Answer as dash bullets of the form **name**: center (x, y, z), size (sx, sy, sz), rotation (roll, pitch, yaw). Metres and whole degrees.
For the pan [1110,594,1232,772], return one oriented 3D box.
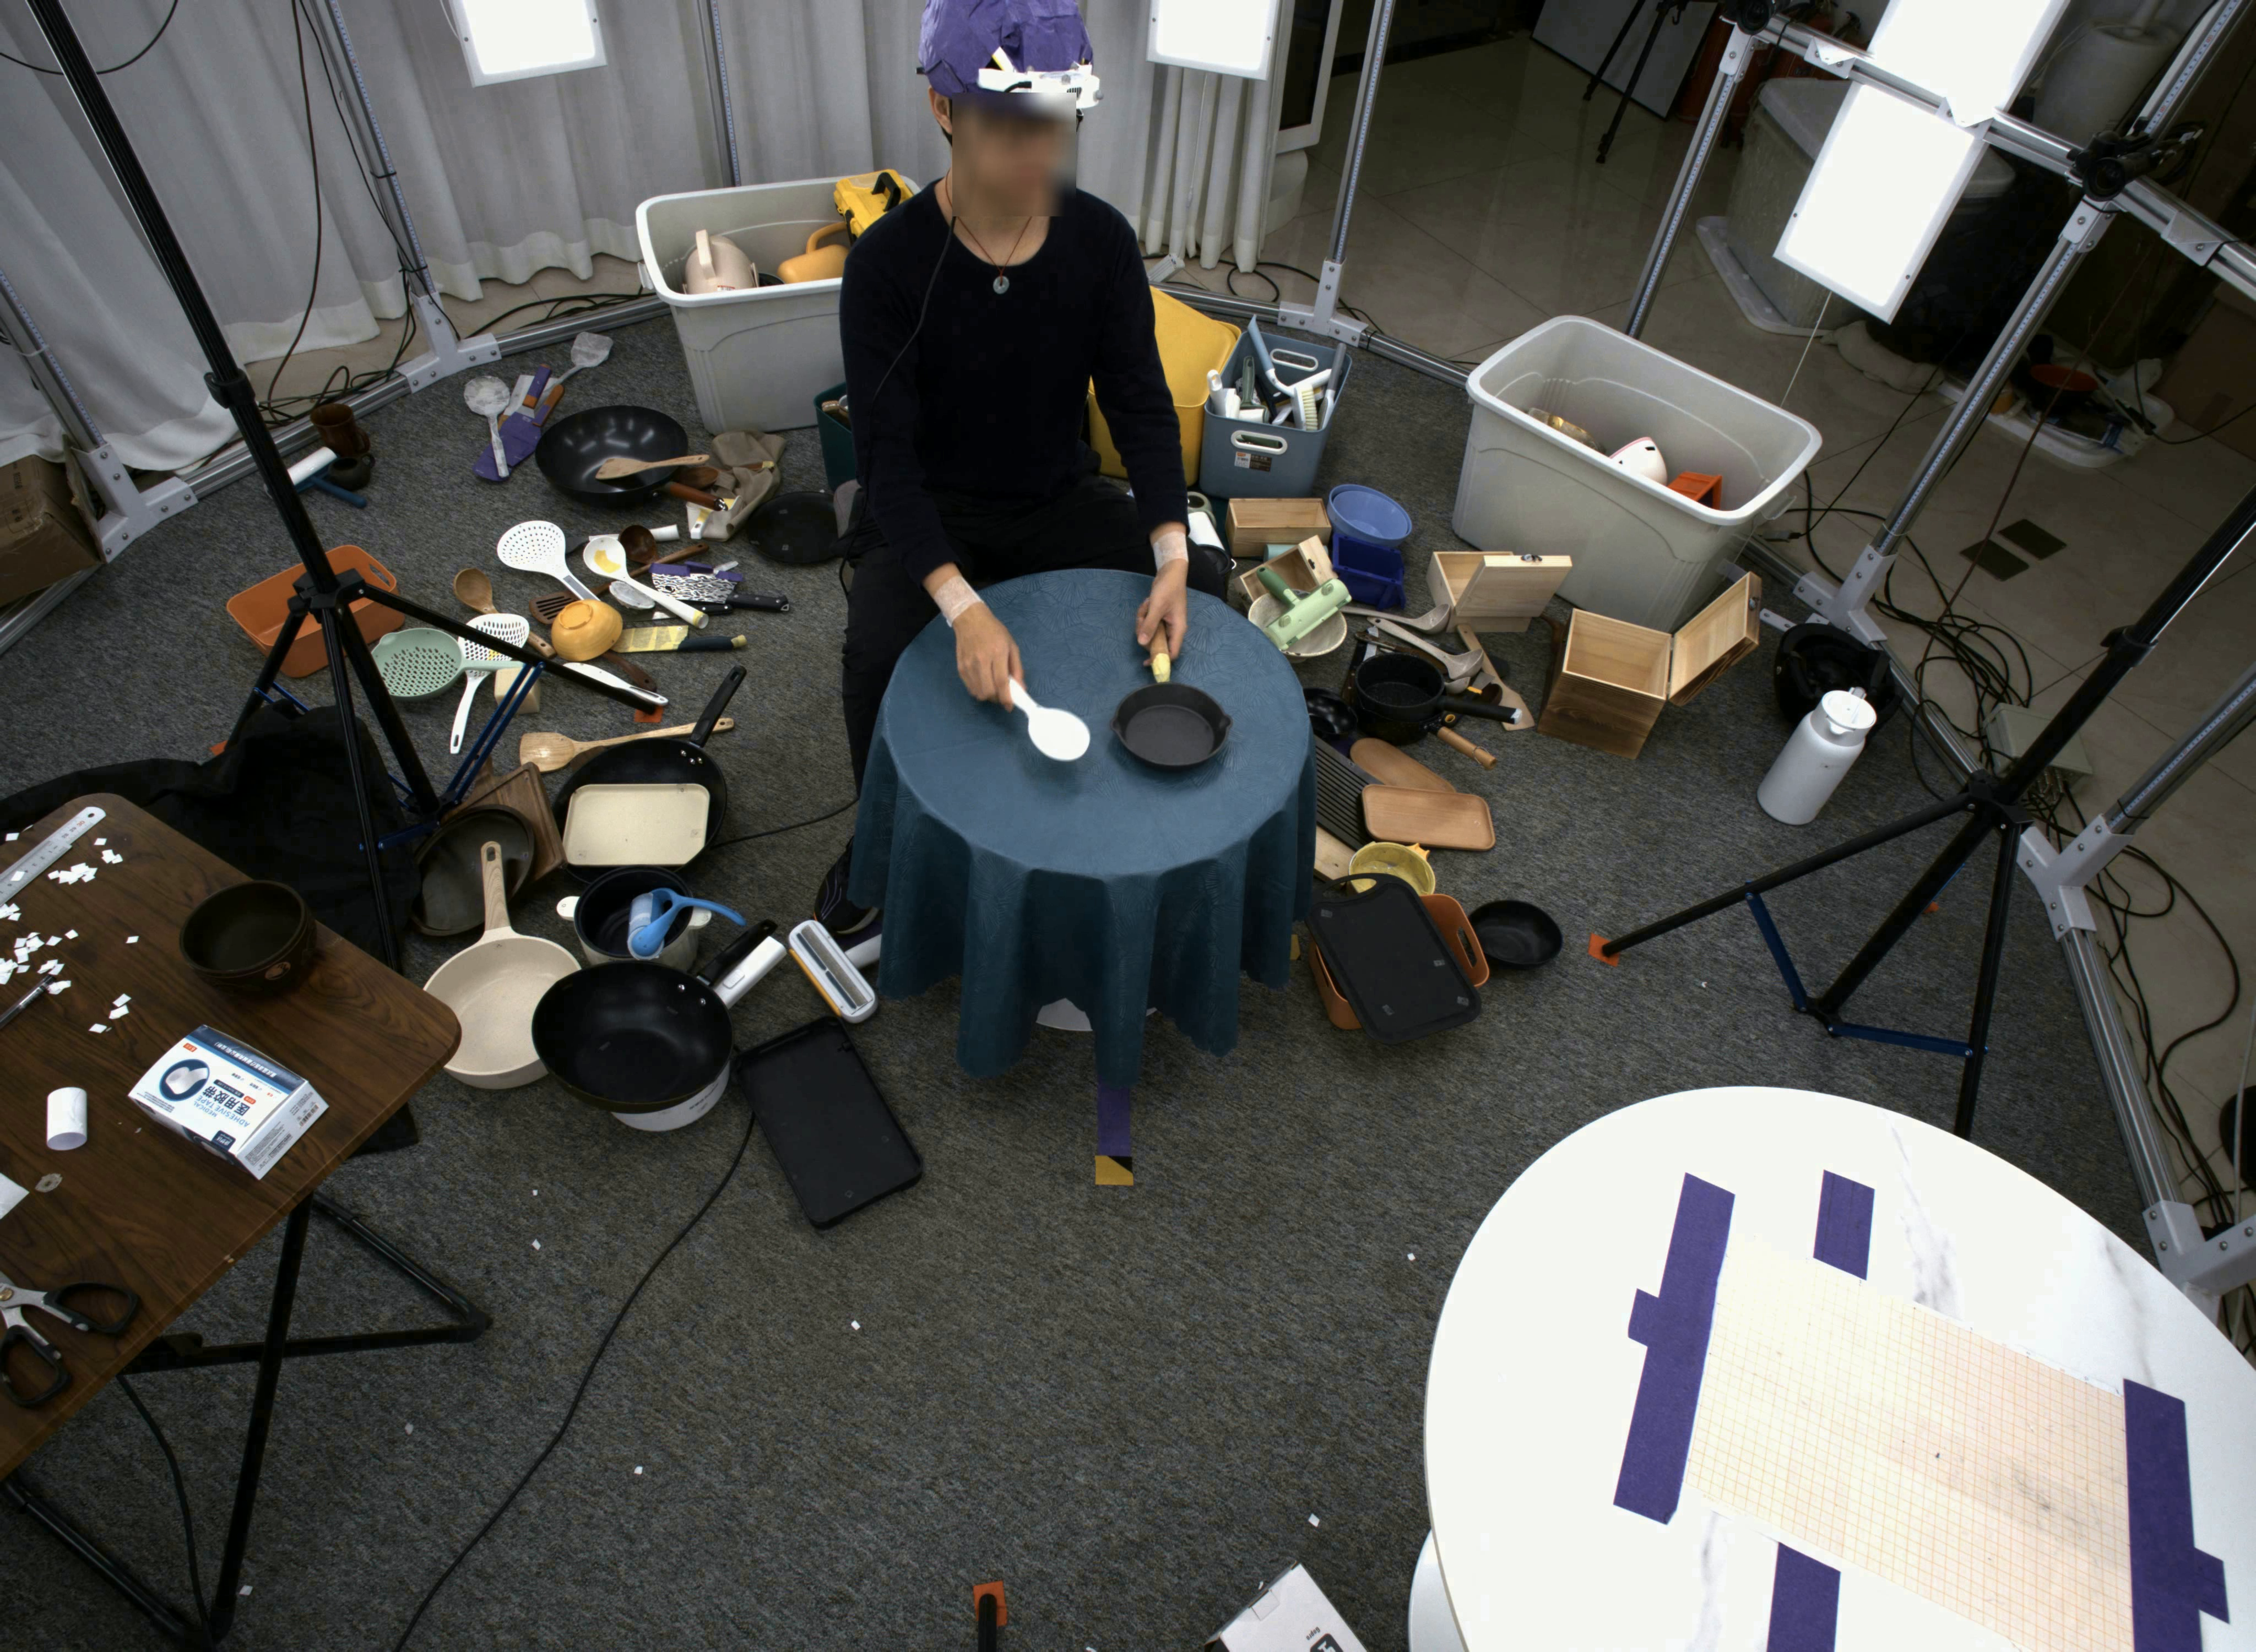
- **pan**: center (0.053, -0.203, 1.816), size (0.169, 0.048, 0.332), rotation (-1, 51, -5)

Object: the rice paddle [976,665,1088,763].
- **rice paddle**: center (-0.131, -0.152, 1.736), size (0.069, 0.029, 0.209), rotation (-35, 58, -23)
